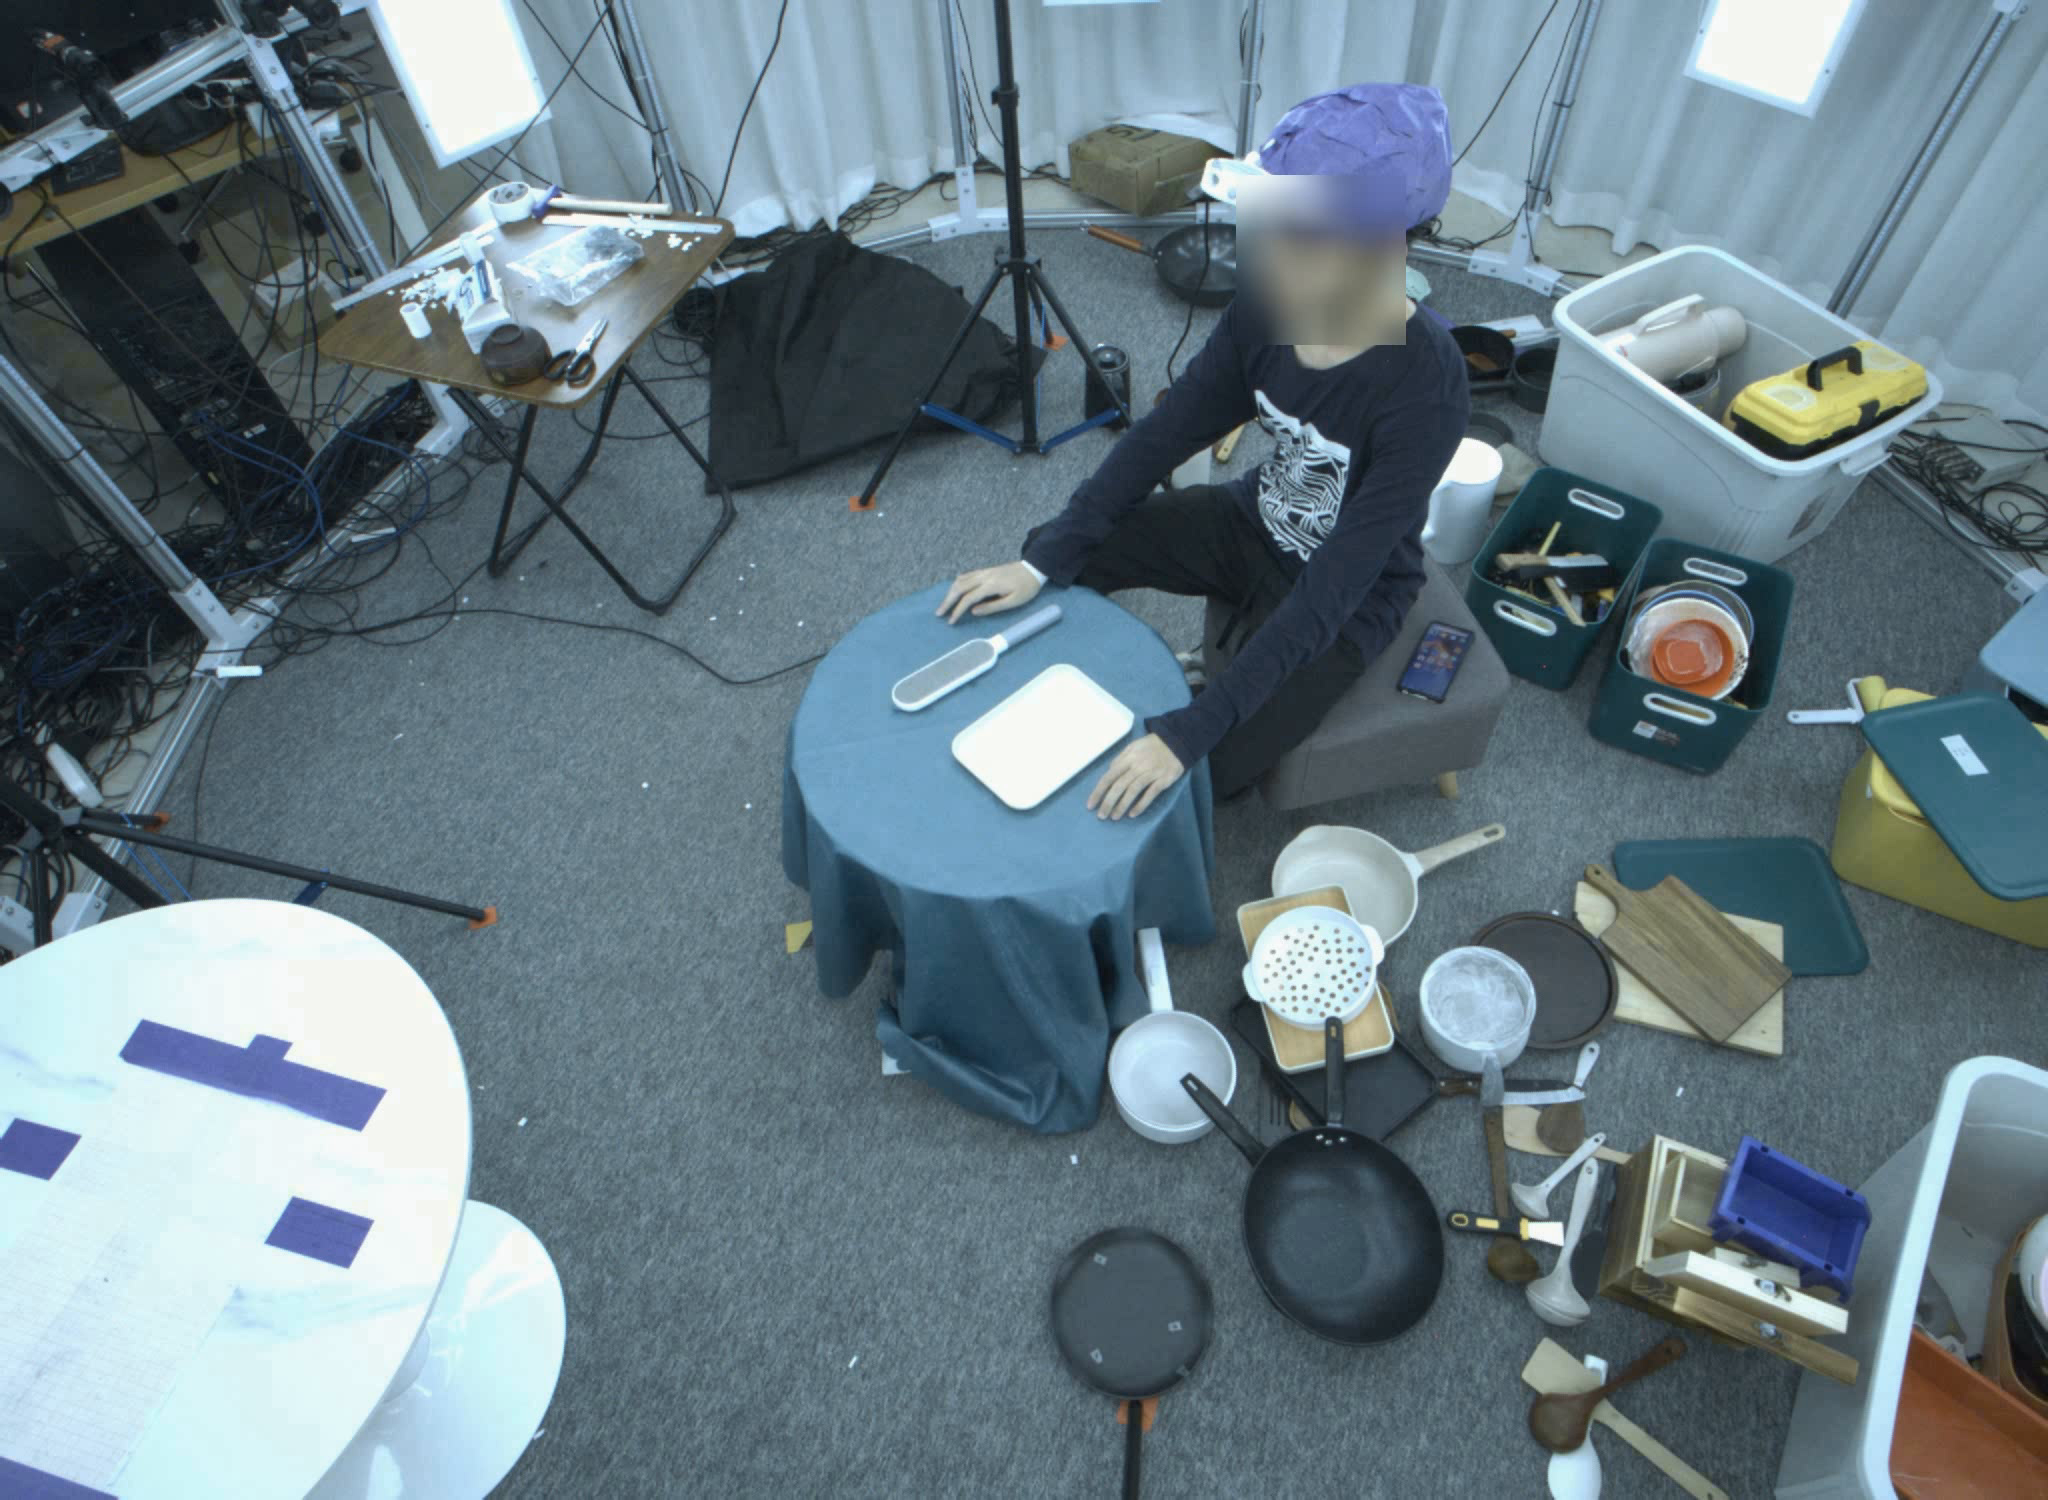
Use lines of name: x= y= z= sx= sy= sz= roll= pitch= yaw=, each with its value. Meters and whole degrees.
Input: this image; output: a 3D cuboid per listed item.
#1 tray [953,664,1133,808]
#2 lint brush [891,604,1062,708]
tray: x=0.028 y=-0.022 z=1.799 sx=0.241 sy=0.017 sz=0.168 roll=-38 pitch=61 yaw=-23
lint brush: x=-0.069 y=-0.148 z=1.886 sx=0.311 sy=0.021 sz=0.059 roll=-31 pitch=54 yaw=-19
